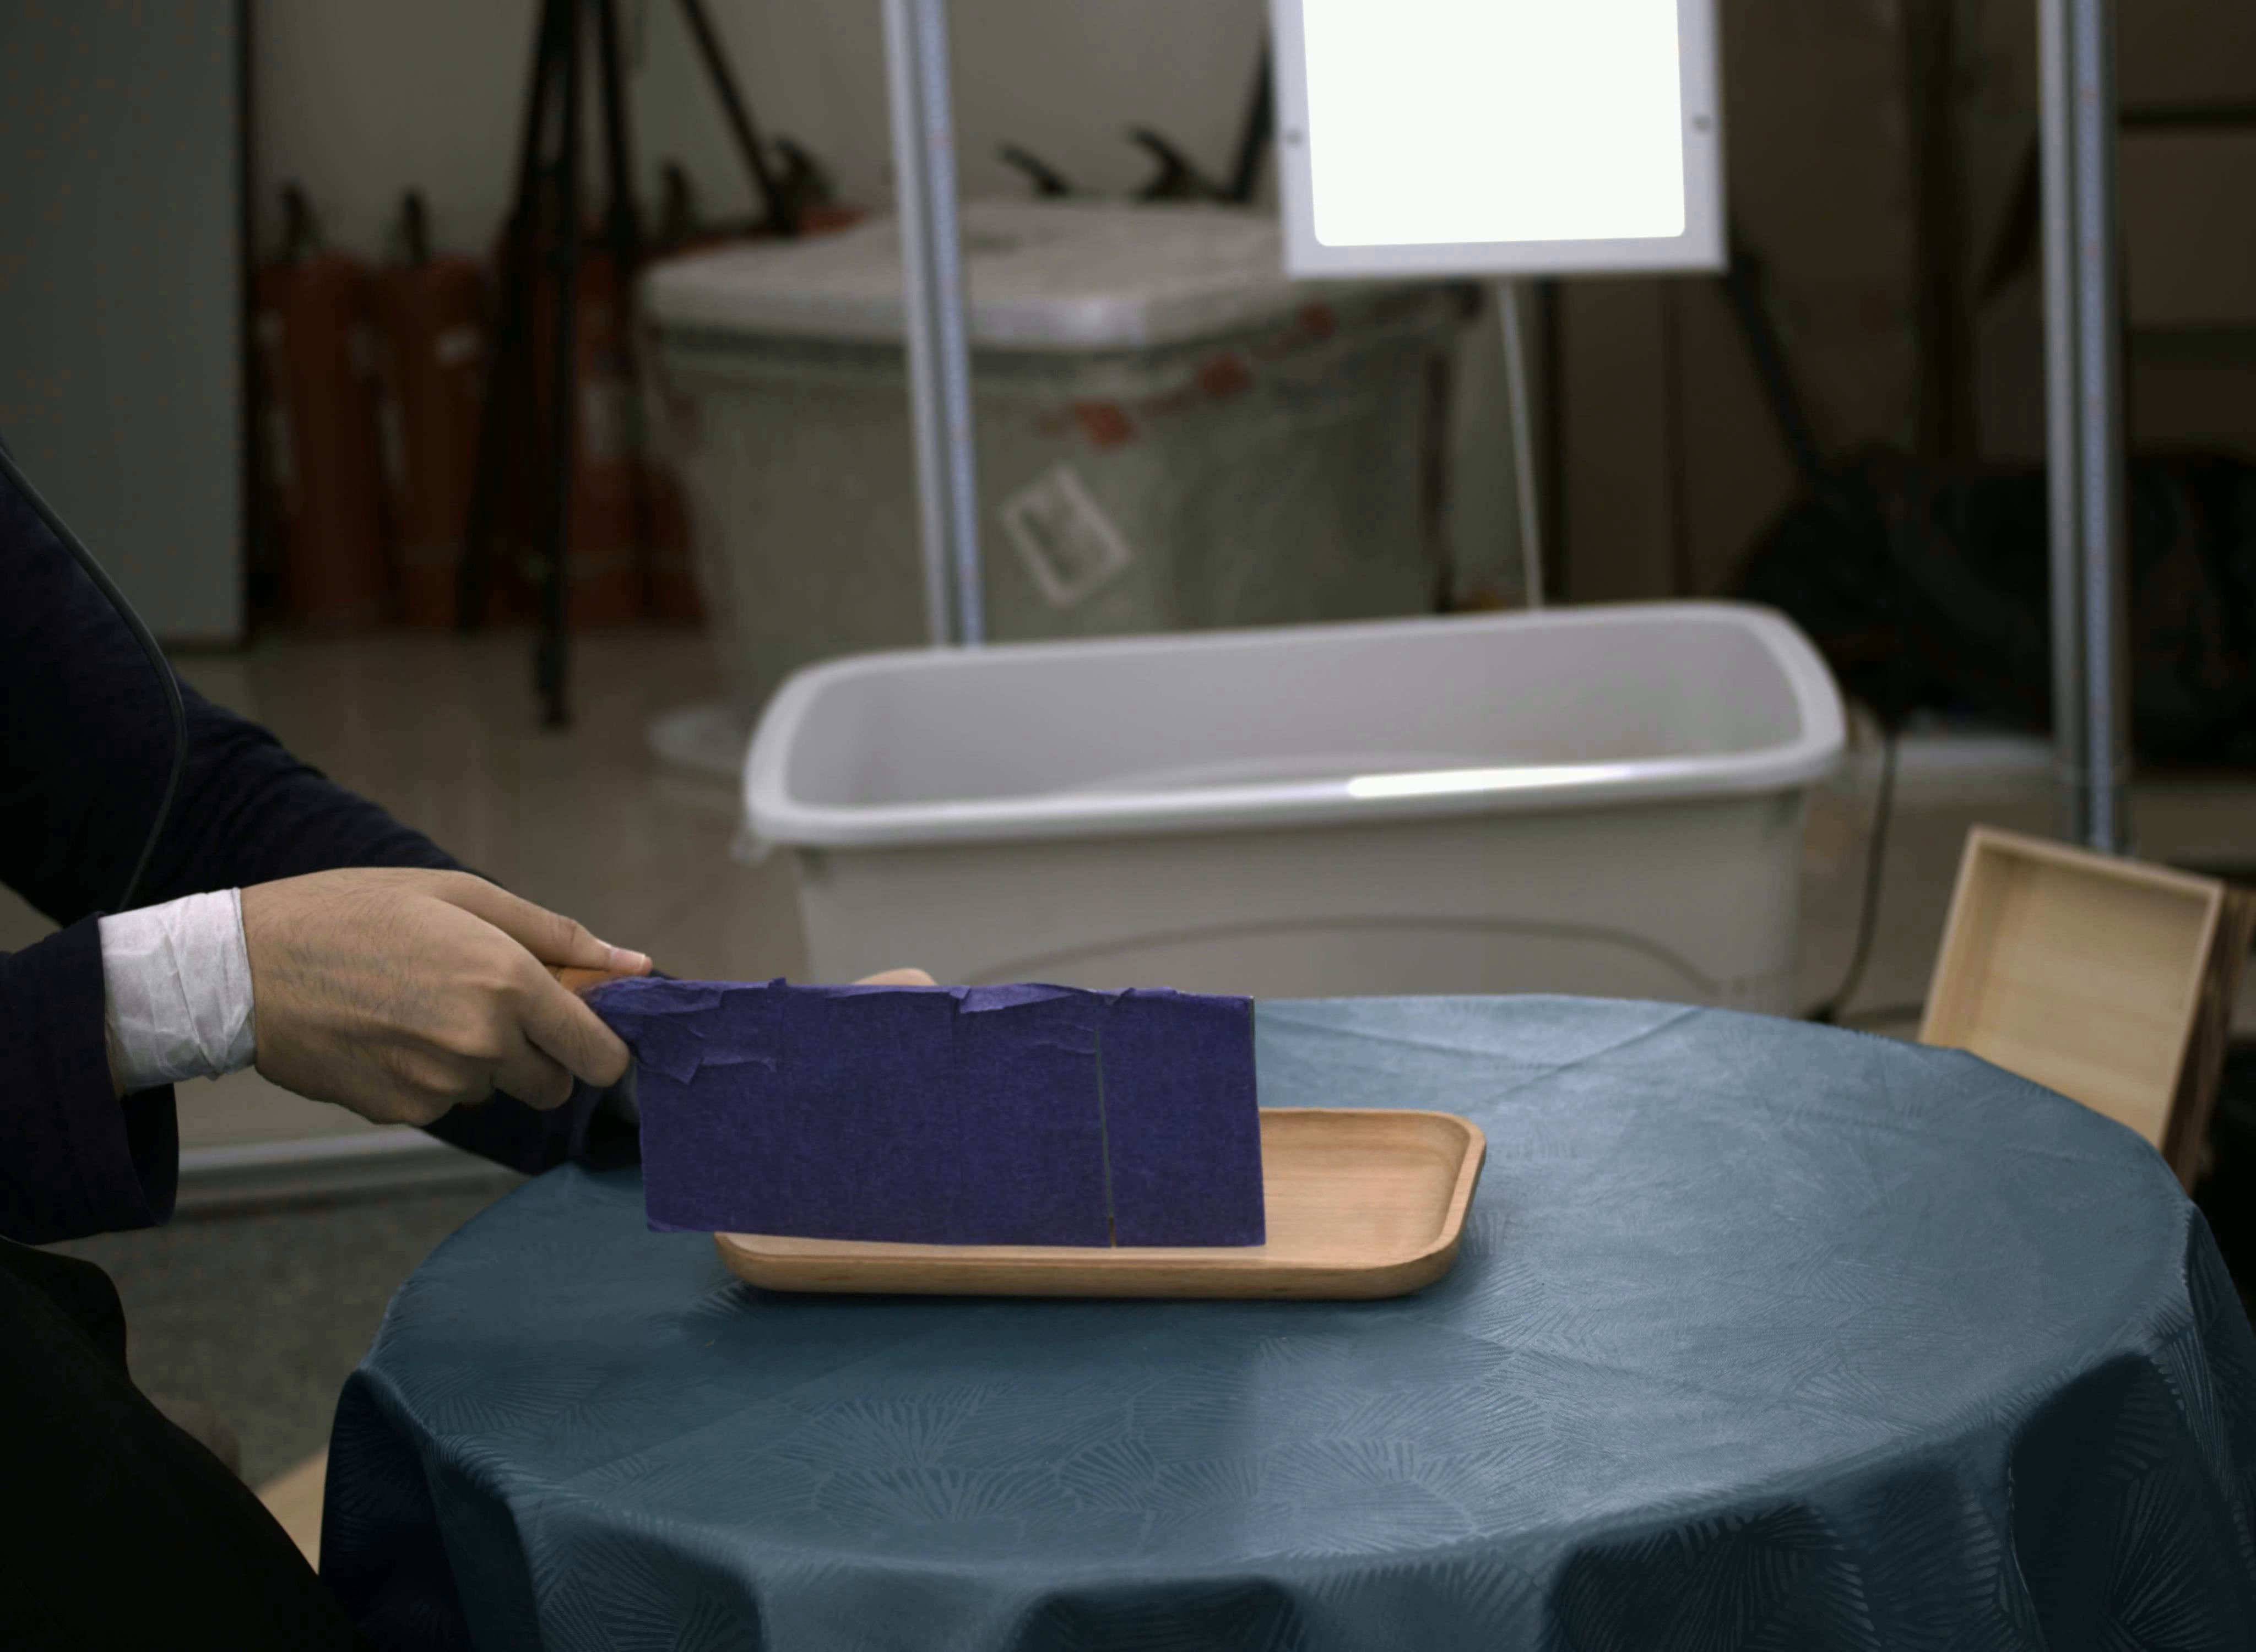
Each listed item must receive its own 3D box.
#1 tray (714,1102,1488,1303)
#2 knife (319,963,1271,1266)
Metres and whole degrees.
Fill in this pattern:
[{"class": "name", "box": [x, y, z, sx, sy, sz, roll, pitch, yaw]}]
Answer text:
[{"class": "tray", "box": [-0.008, 0.124, 1.842, 0.253, 0.023, 0.128, 0, 19, 17]}, {"class": "knife", "box": [-0.110, 0.092, 1.800, 0.318, 0.104, 0.032, 1, 18, 14]}]
